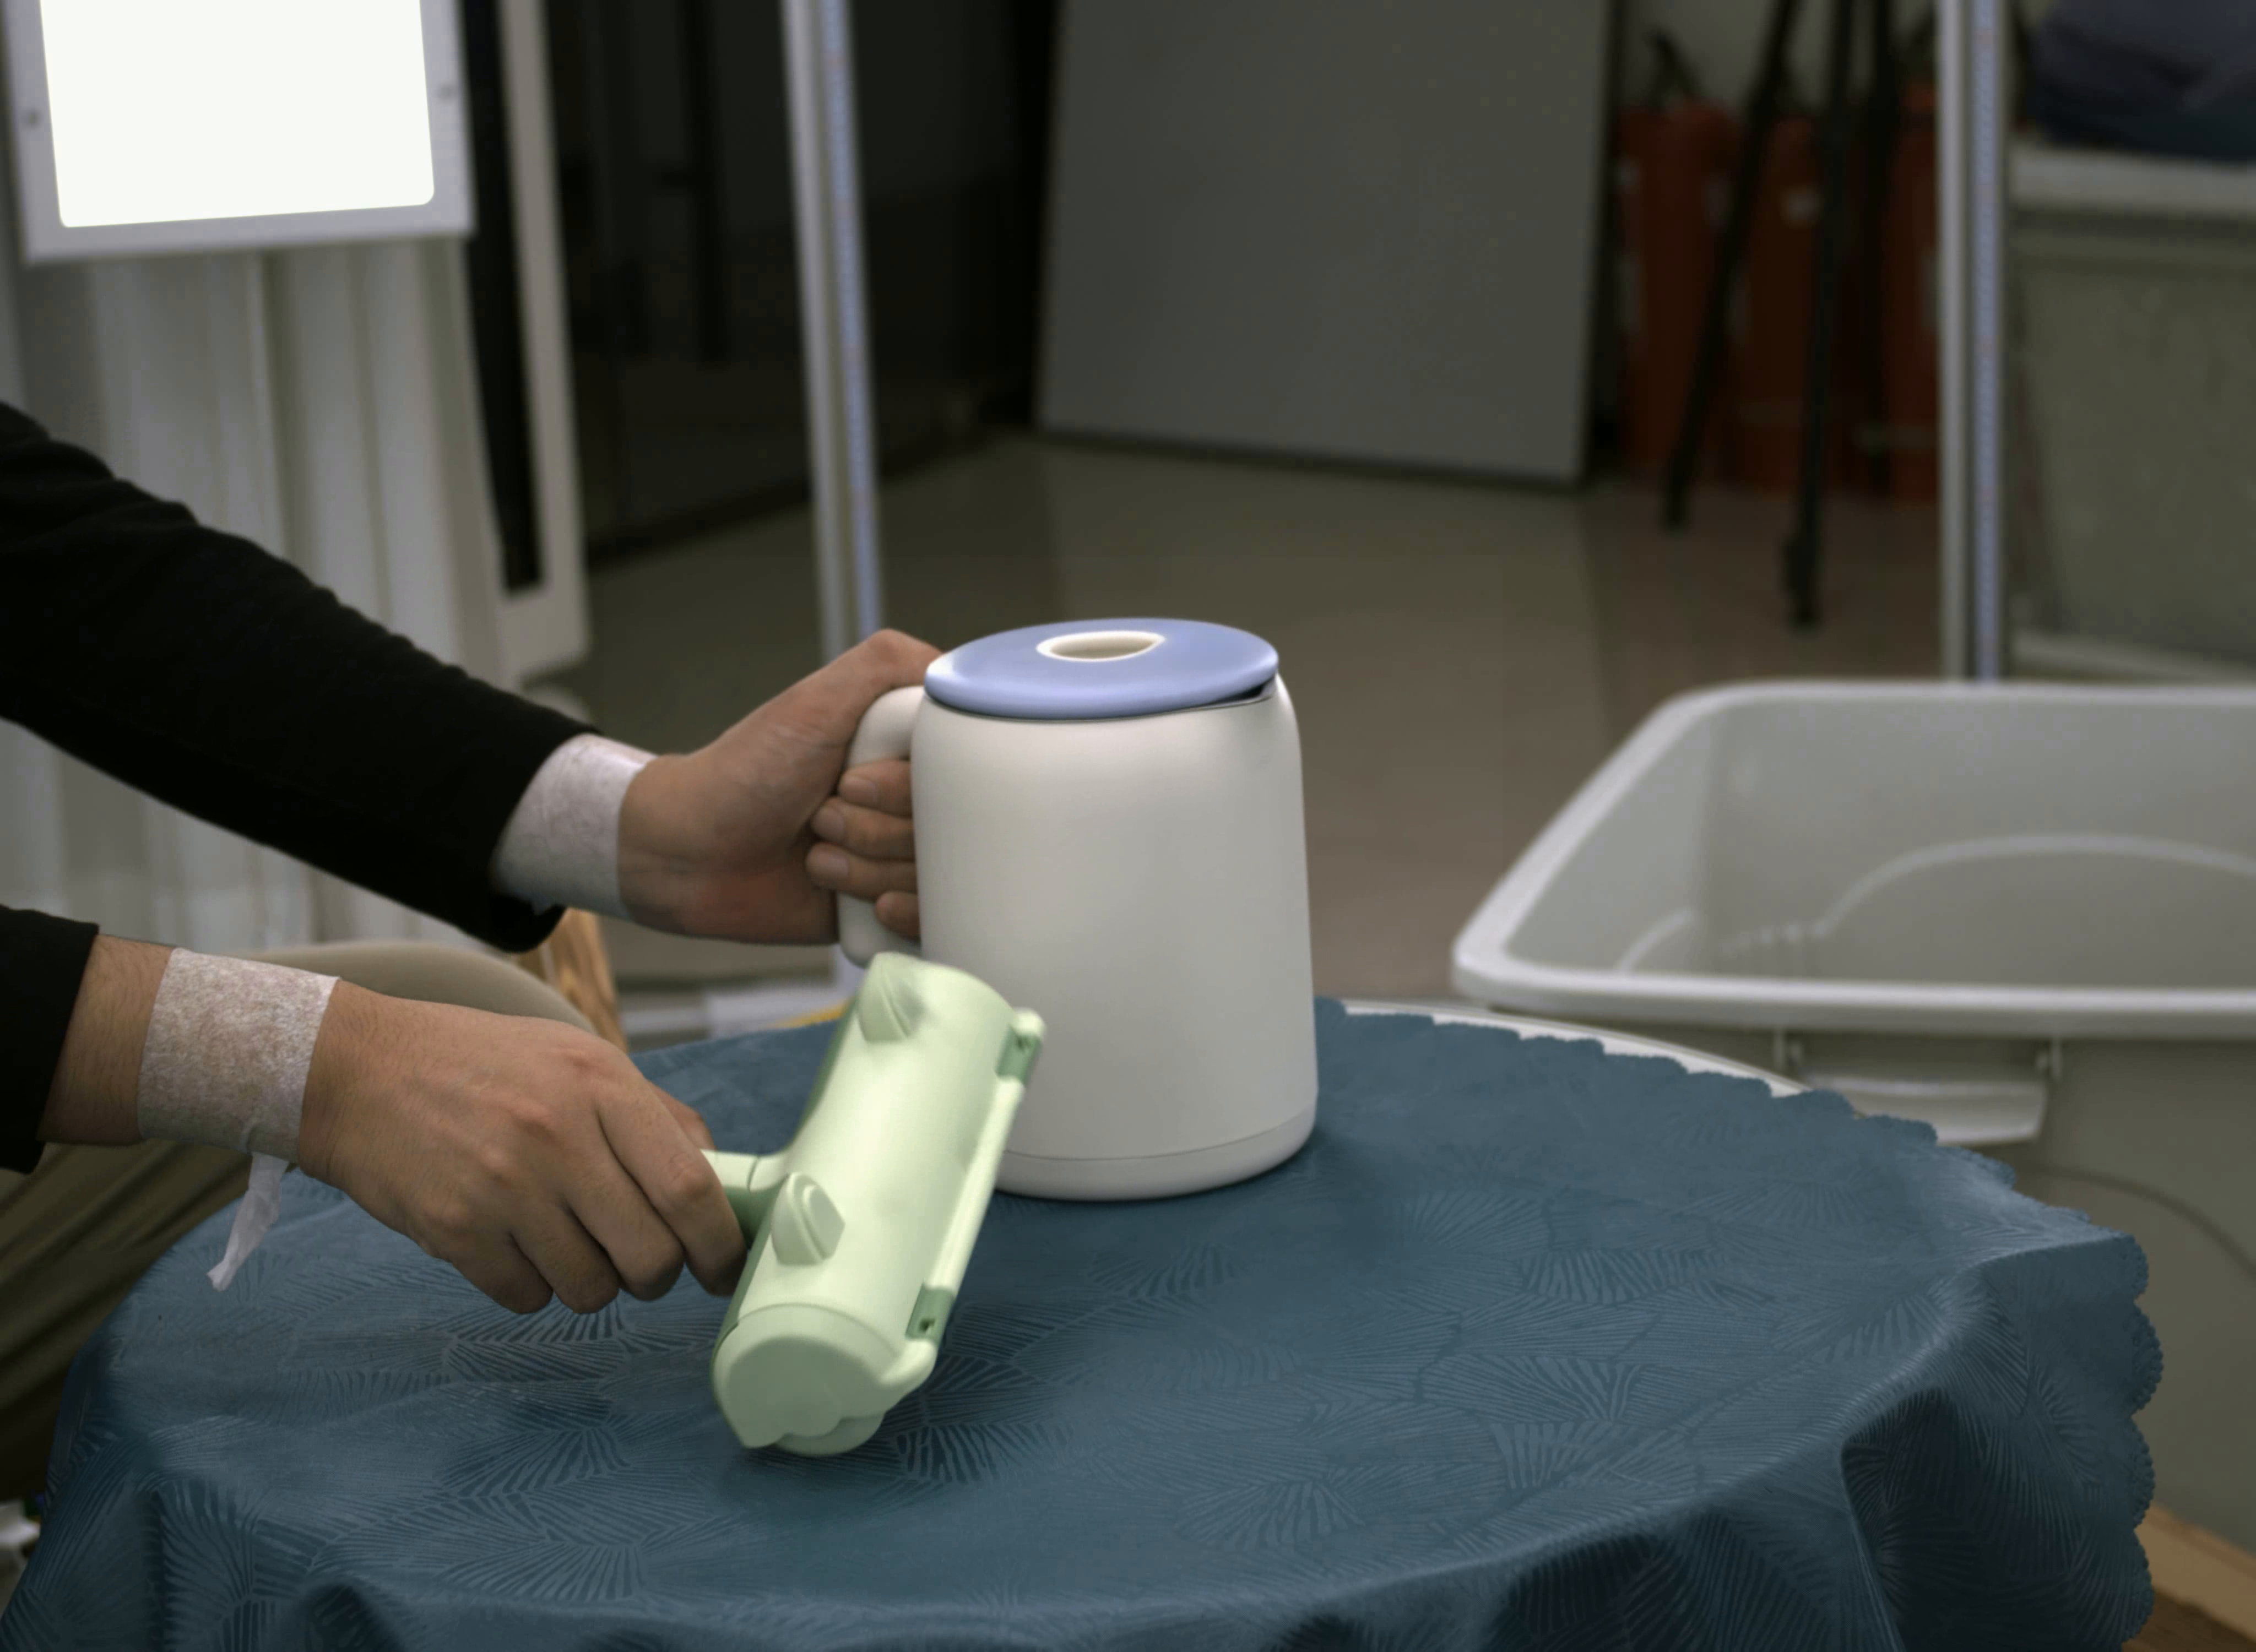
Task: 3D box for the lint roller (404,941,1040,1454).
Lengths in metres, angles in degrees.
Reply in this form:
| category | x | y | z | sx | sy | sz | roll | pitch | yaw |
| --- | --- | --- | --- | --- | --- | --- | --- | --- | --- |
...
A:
| category | x | y | z | sx | sy | sz | roll | pitch | yaw |
| --- | --- | --- | --- | --- | --- | --- | --- | --- | --- |
| lint roller | -0.130 | 0.098 | 1.617 | 0.182 | 0.083 | 0.198 | 5 | 32 | 8 |

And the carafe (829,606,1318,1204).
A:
| category | x | y | z | sx | sy | sz | roll | pitch | yaw |
| --- | --- | --- | --- | --- | --- | --- | --- | --- | --- |
| carafe | -0.024 | 0.024 | 1.810 | 0.192 | 0.184 | 0.130 | 5 | 15 | 38 |
